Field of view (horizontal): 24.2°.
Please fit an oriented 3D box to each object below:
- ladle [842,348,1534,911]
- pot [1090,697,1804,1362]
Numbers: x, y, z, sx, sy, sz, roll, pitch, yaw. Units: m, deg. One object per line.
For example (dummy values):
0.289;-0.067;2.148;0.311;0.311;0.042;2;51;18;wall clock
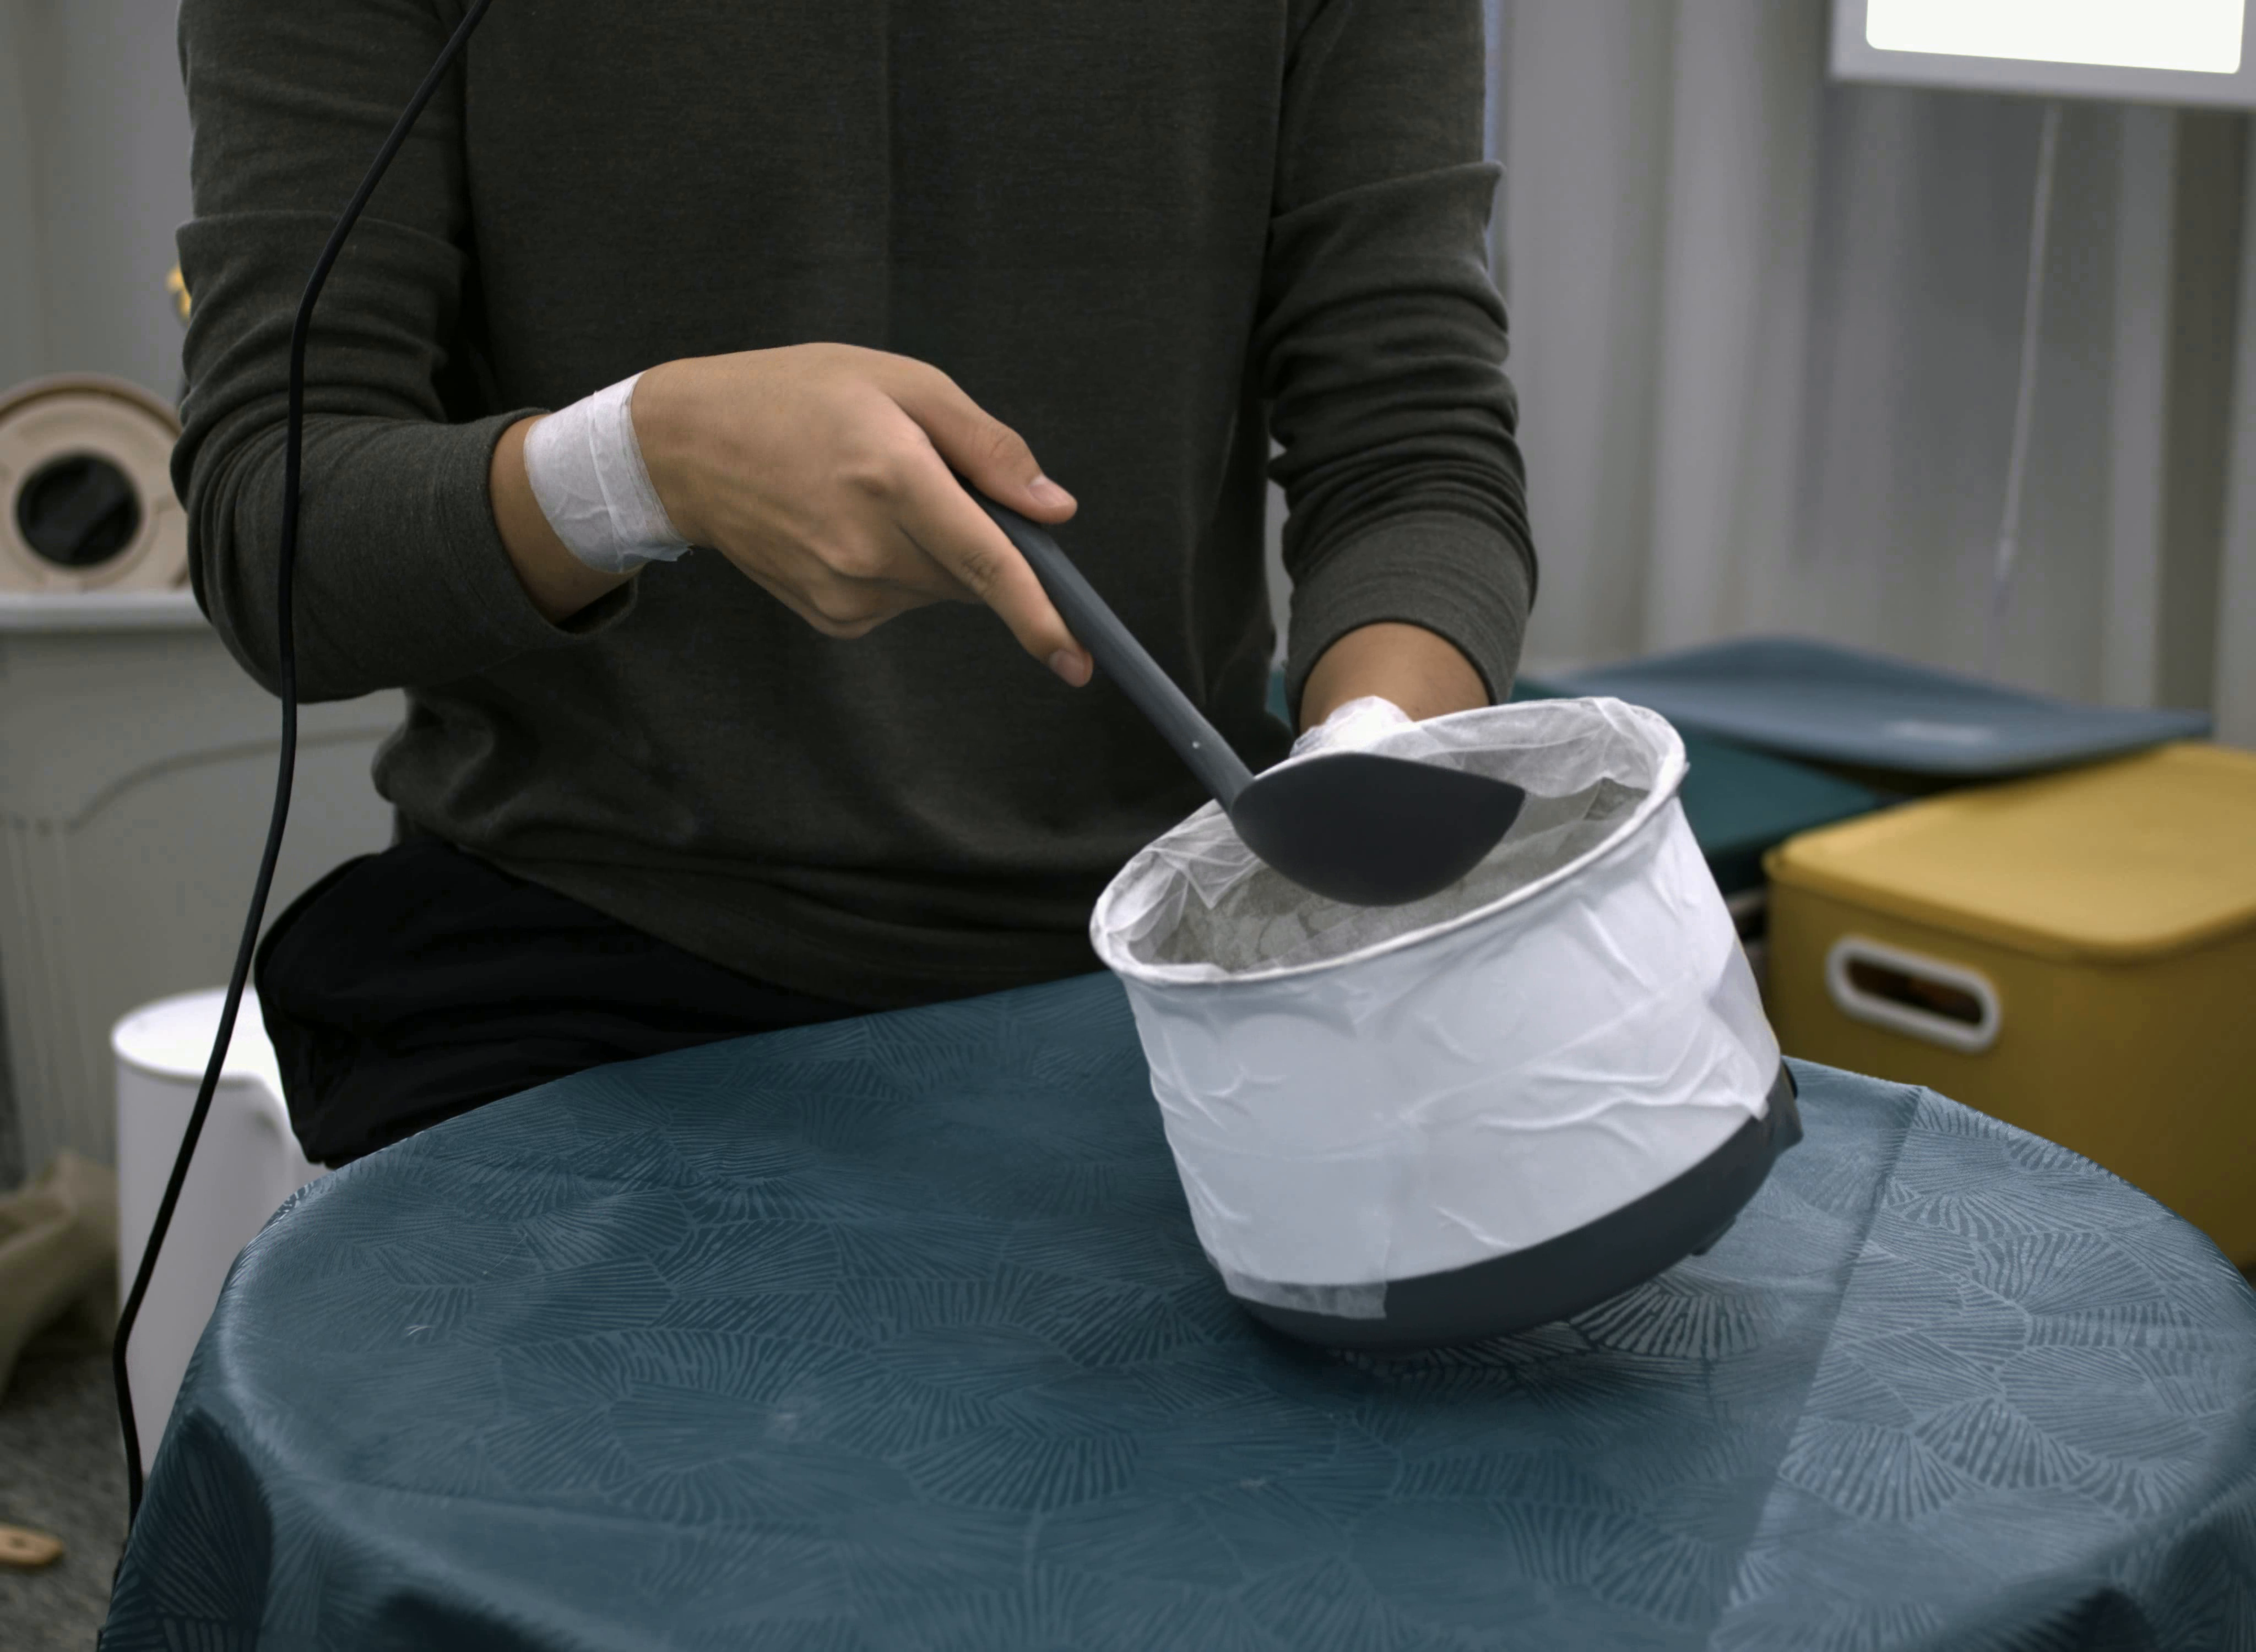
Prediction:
0.005;-0.076;1.555;0.087;0.064;0.310;12;28;-45;ladle
0.088;0.051;1.529;0.178;0.138;0.231;-20;19;-4;pot
